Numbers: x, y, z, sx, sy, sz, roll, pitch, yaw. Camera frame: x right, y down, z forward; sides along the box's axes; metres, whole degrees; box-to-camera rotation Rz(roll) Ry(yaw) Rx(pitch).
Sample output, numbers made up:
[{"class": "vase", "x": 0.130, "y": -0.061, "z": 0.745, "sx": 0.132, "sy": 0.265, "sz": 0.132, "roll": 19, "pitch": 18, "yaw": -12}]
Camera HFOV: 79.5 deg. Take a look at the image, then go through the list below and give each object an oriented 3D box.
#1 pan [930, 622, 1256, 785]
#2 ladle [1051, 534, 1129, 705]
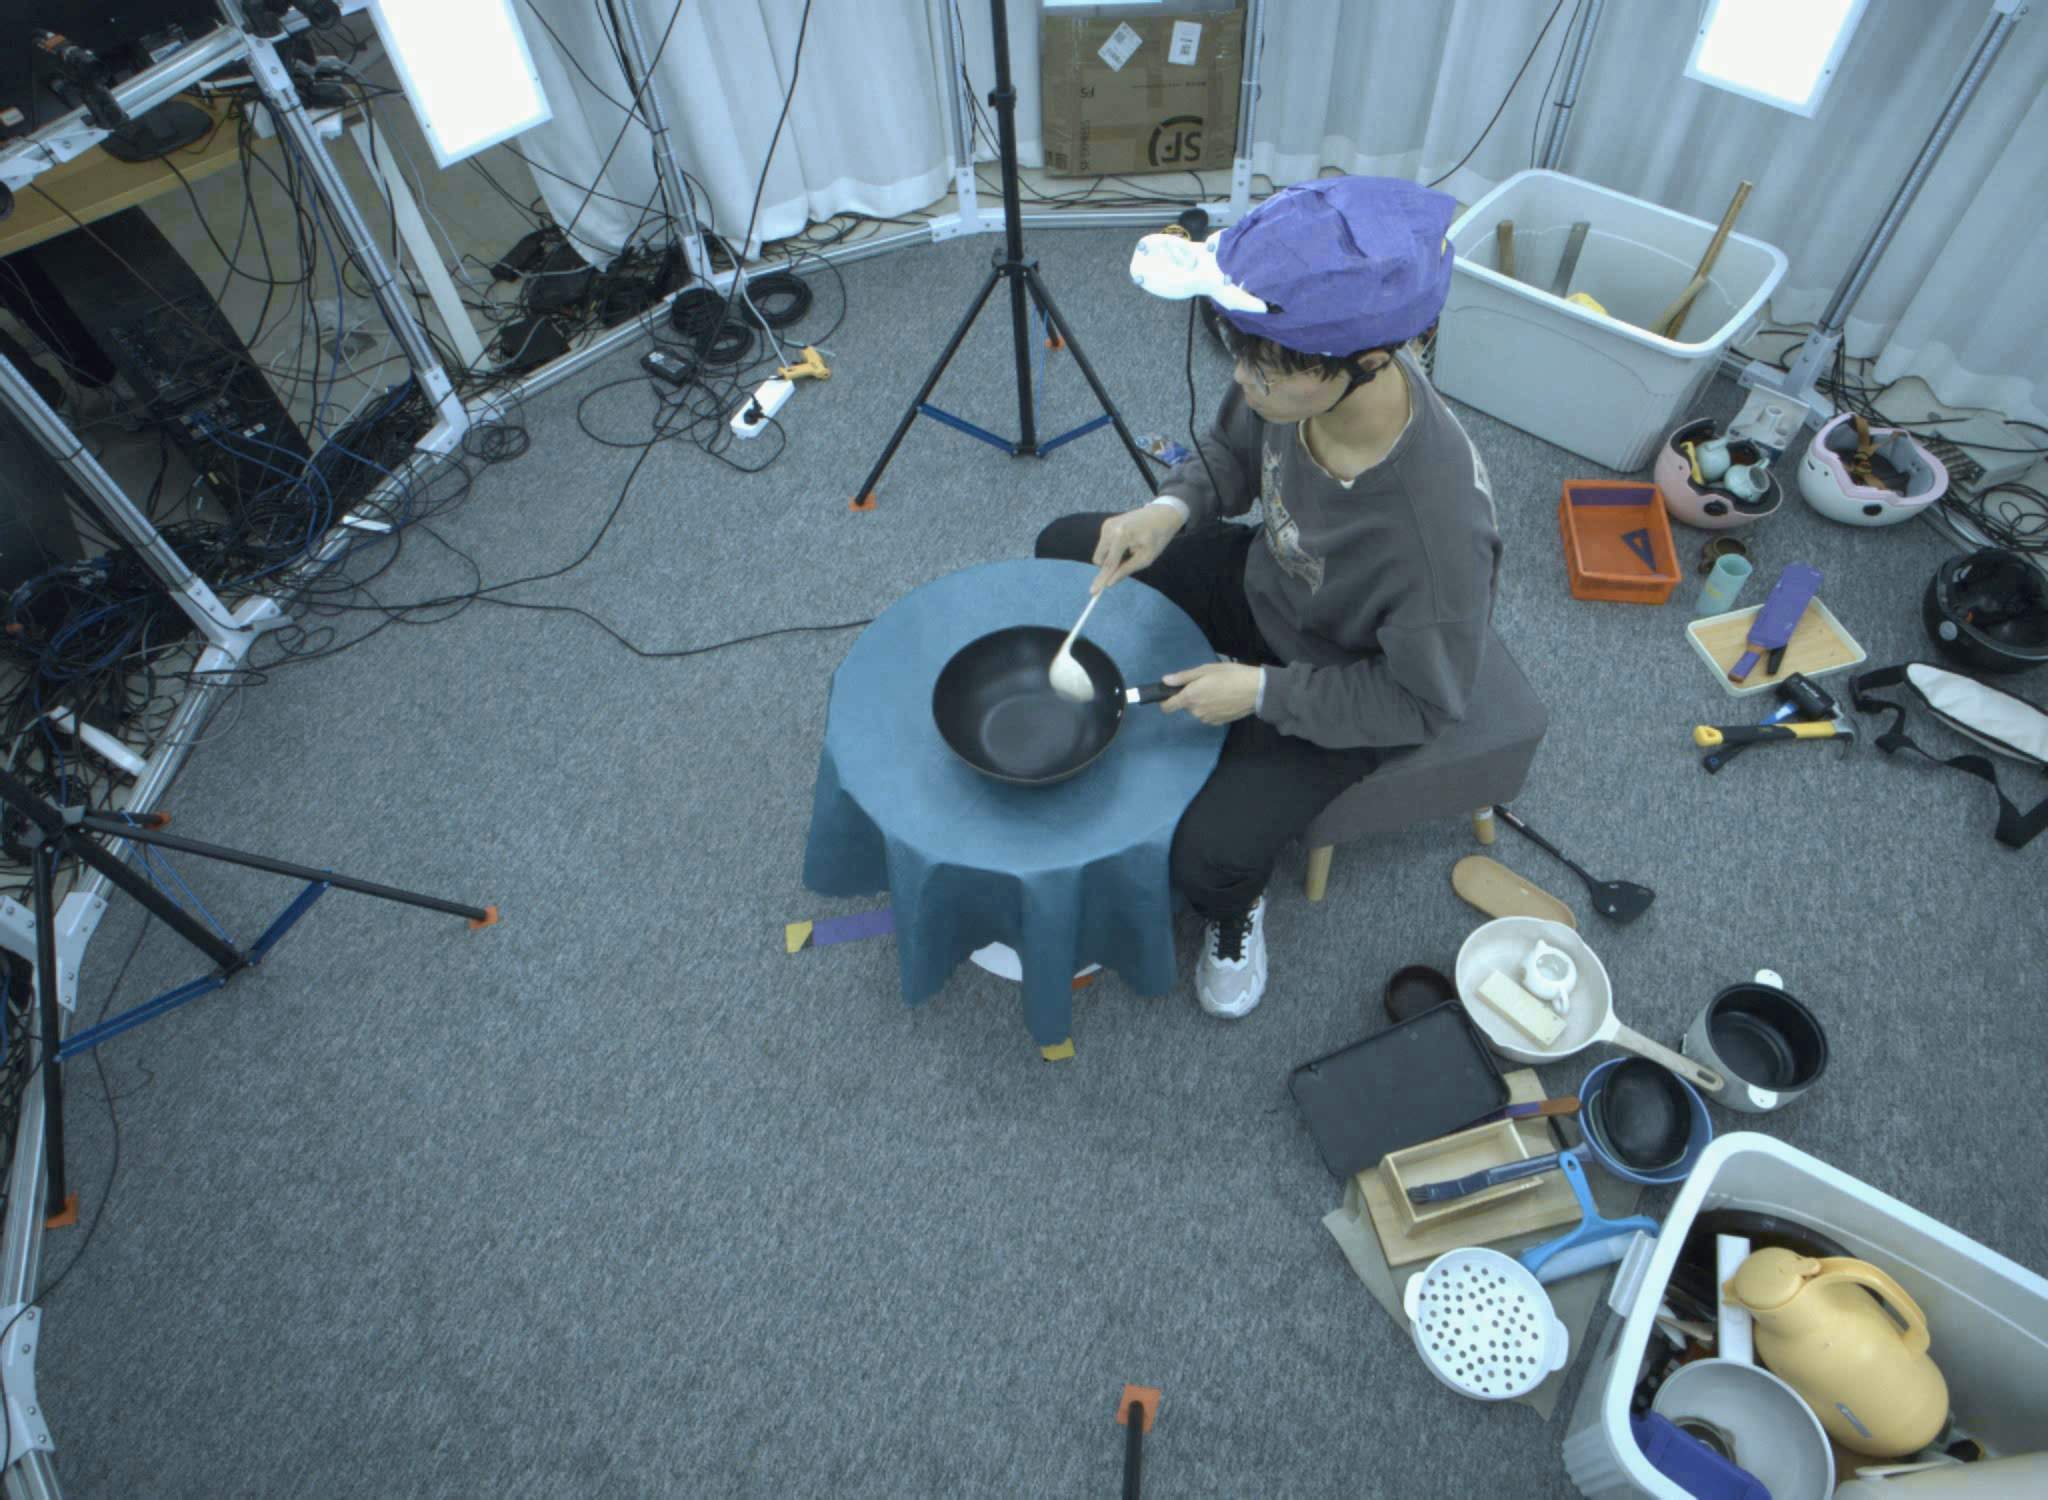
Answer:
[{"class": "pan", "x": 0.098, "y": -0.059, "z": 1.774, "sx": 0.464, "sy": 0.088, "sz": 0.284, "roll": -3, "pitch": 54, "yaw": -3}, {"class": "ladle", "x": 0.116, "y": -0.181, "z": 1.734, "sx": 0.074, "sy": 0.071, "sz": 0.254, "roll": 33, "pitch": 76, "yaw": -21}]
